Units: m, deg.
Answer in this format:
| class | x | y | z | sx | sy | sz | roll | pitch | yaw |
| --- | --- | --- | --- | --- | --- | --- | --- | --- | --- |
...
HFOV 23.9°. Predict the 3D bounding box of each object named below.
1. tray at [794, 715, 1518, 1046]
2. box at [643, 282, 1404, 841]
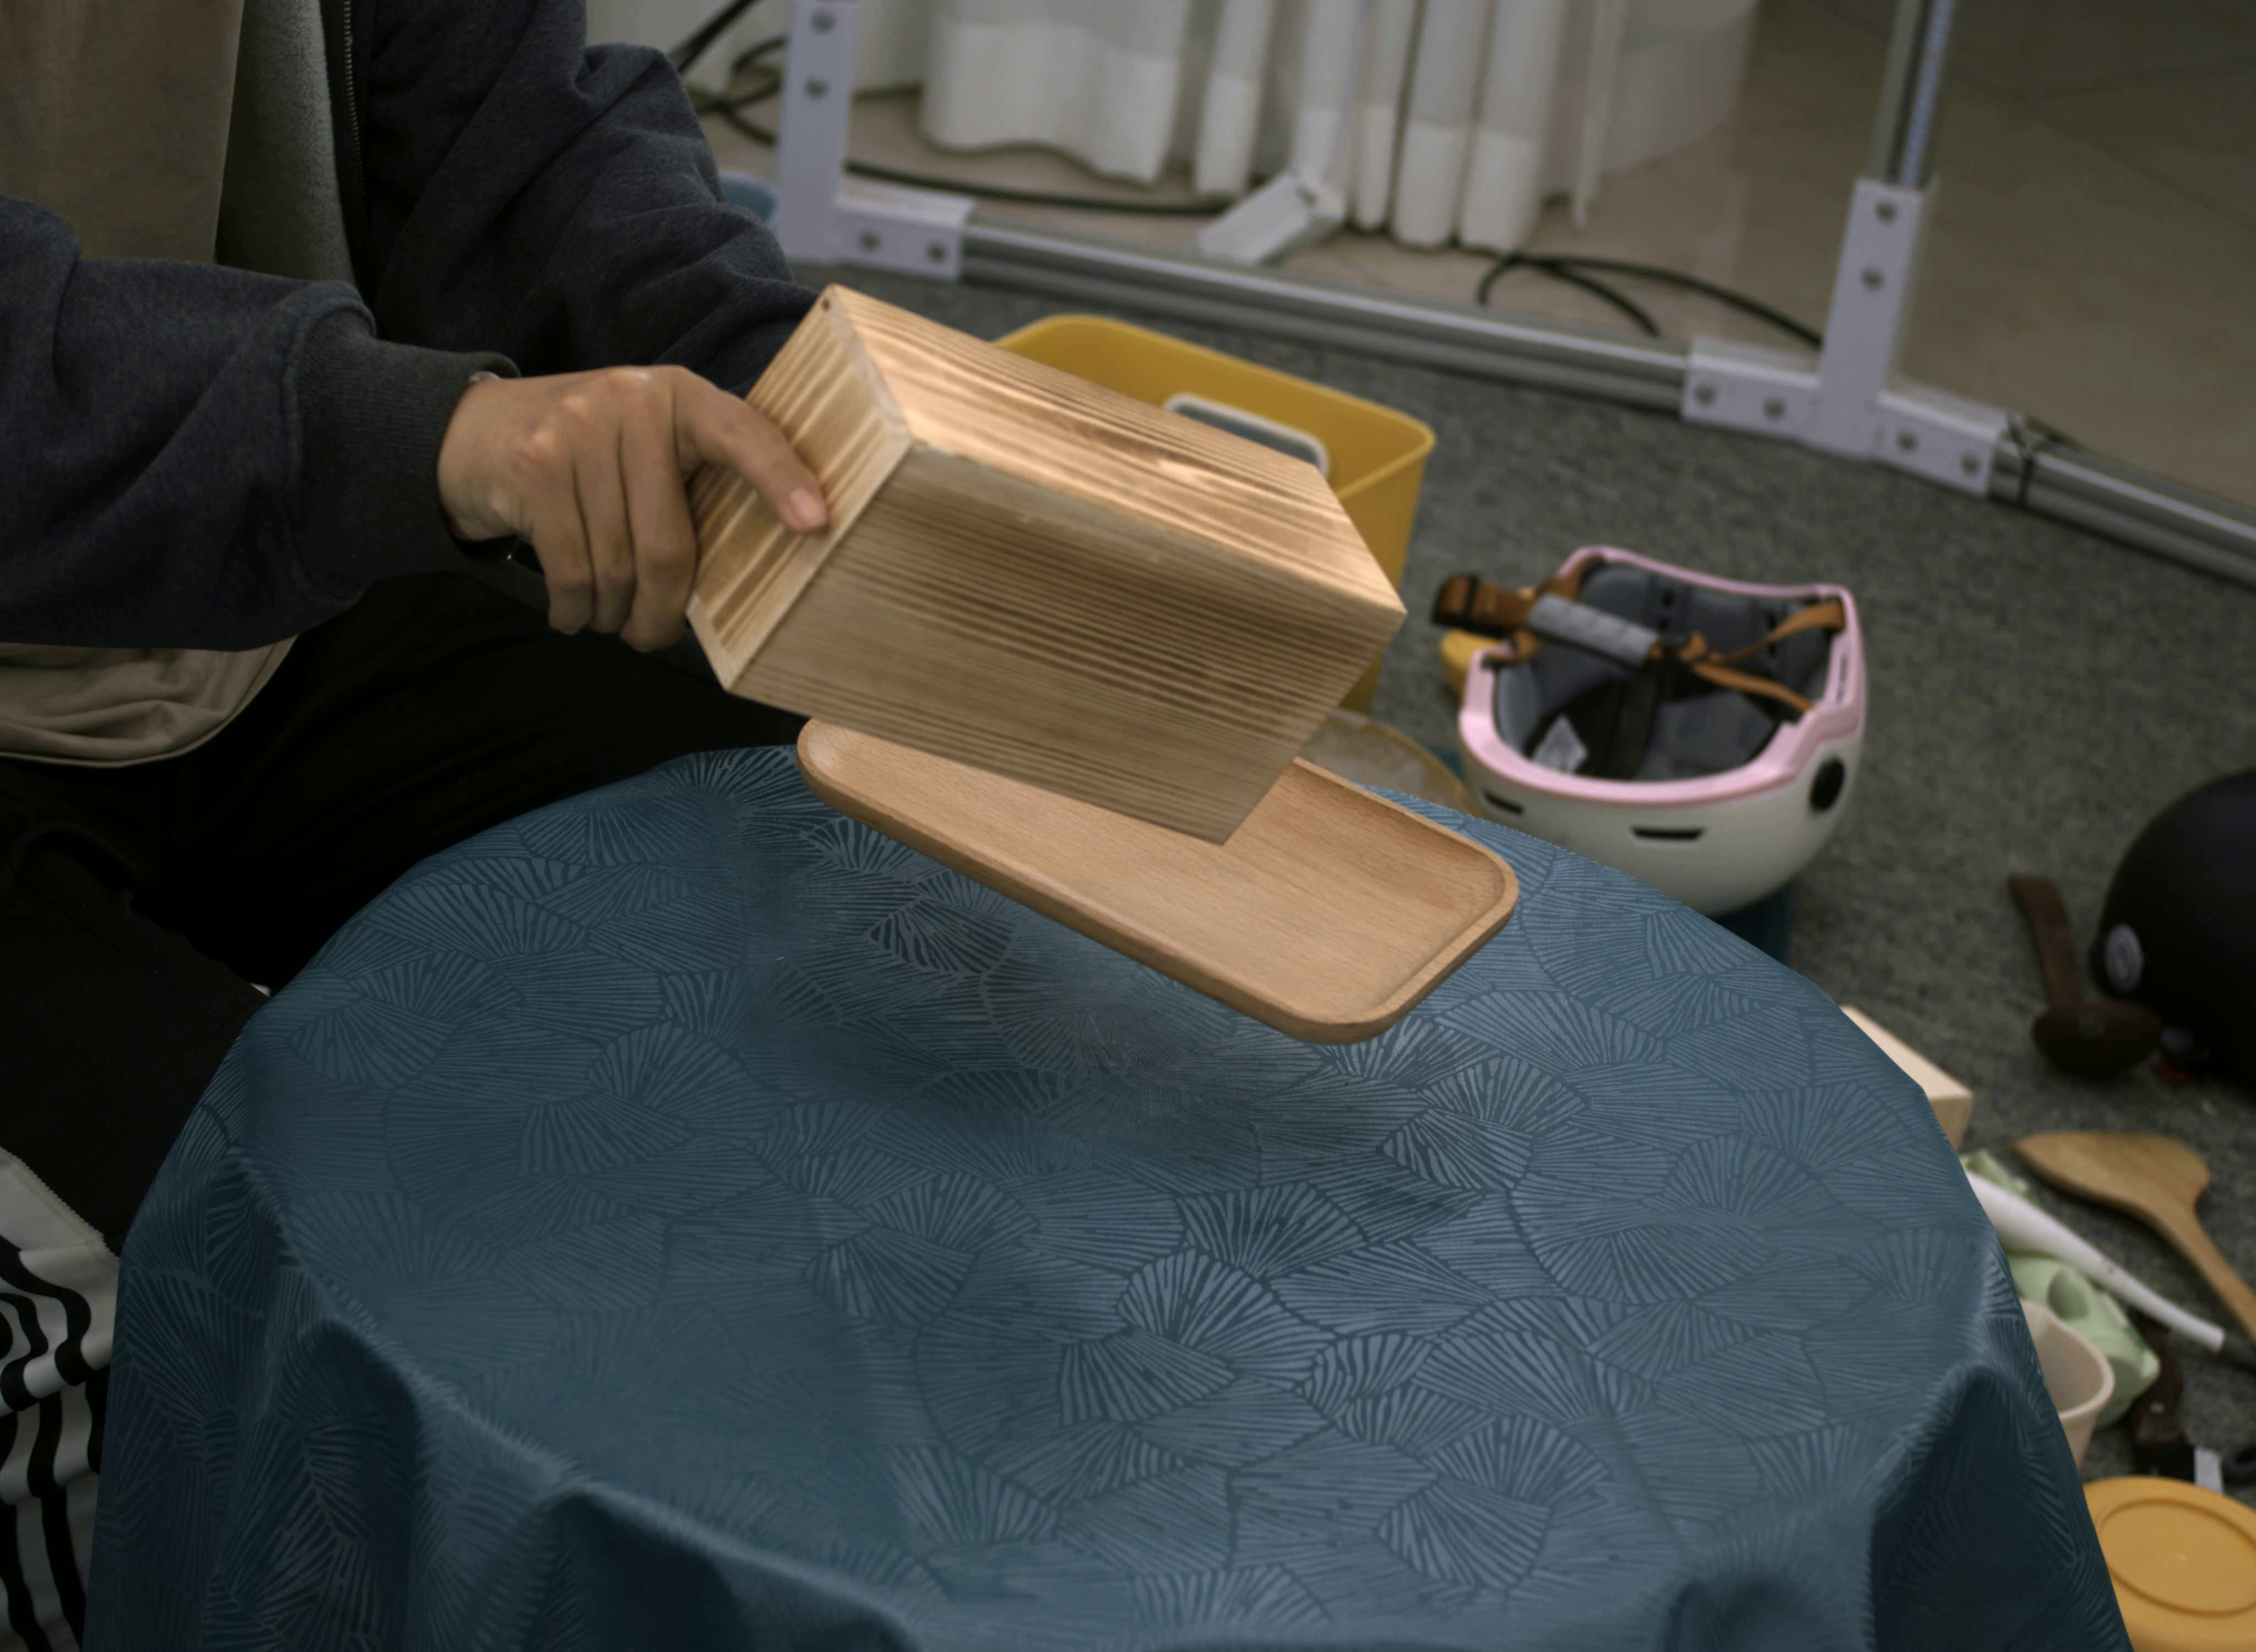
| class | x | y | z | sx | sy | sz | roll | pitch | yaw |
| --- | --- | --- | --- | --- | --- | --- | --- | --- | --- |
| tray | 0.008 | 0.000 | 1.867 | 0.252 | 0.023 | 0.130 | 26 | 38 | 26 |
| box | -0.032 | -0.081 | 1.692 | 0.209 | 0.107 | 0.081 | 17 | 32 | -39 |
